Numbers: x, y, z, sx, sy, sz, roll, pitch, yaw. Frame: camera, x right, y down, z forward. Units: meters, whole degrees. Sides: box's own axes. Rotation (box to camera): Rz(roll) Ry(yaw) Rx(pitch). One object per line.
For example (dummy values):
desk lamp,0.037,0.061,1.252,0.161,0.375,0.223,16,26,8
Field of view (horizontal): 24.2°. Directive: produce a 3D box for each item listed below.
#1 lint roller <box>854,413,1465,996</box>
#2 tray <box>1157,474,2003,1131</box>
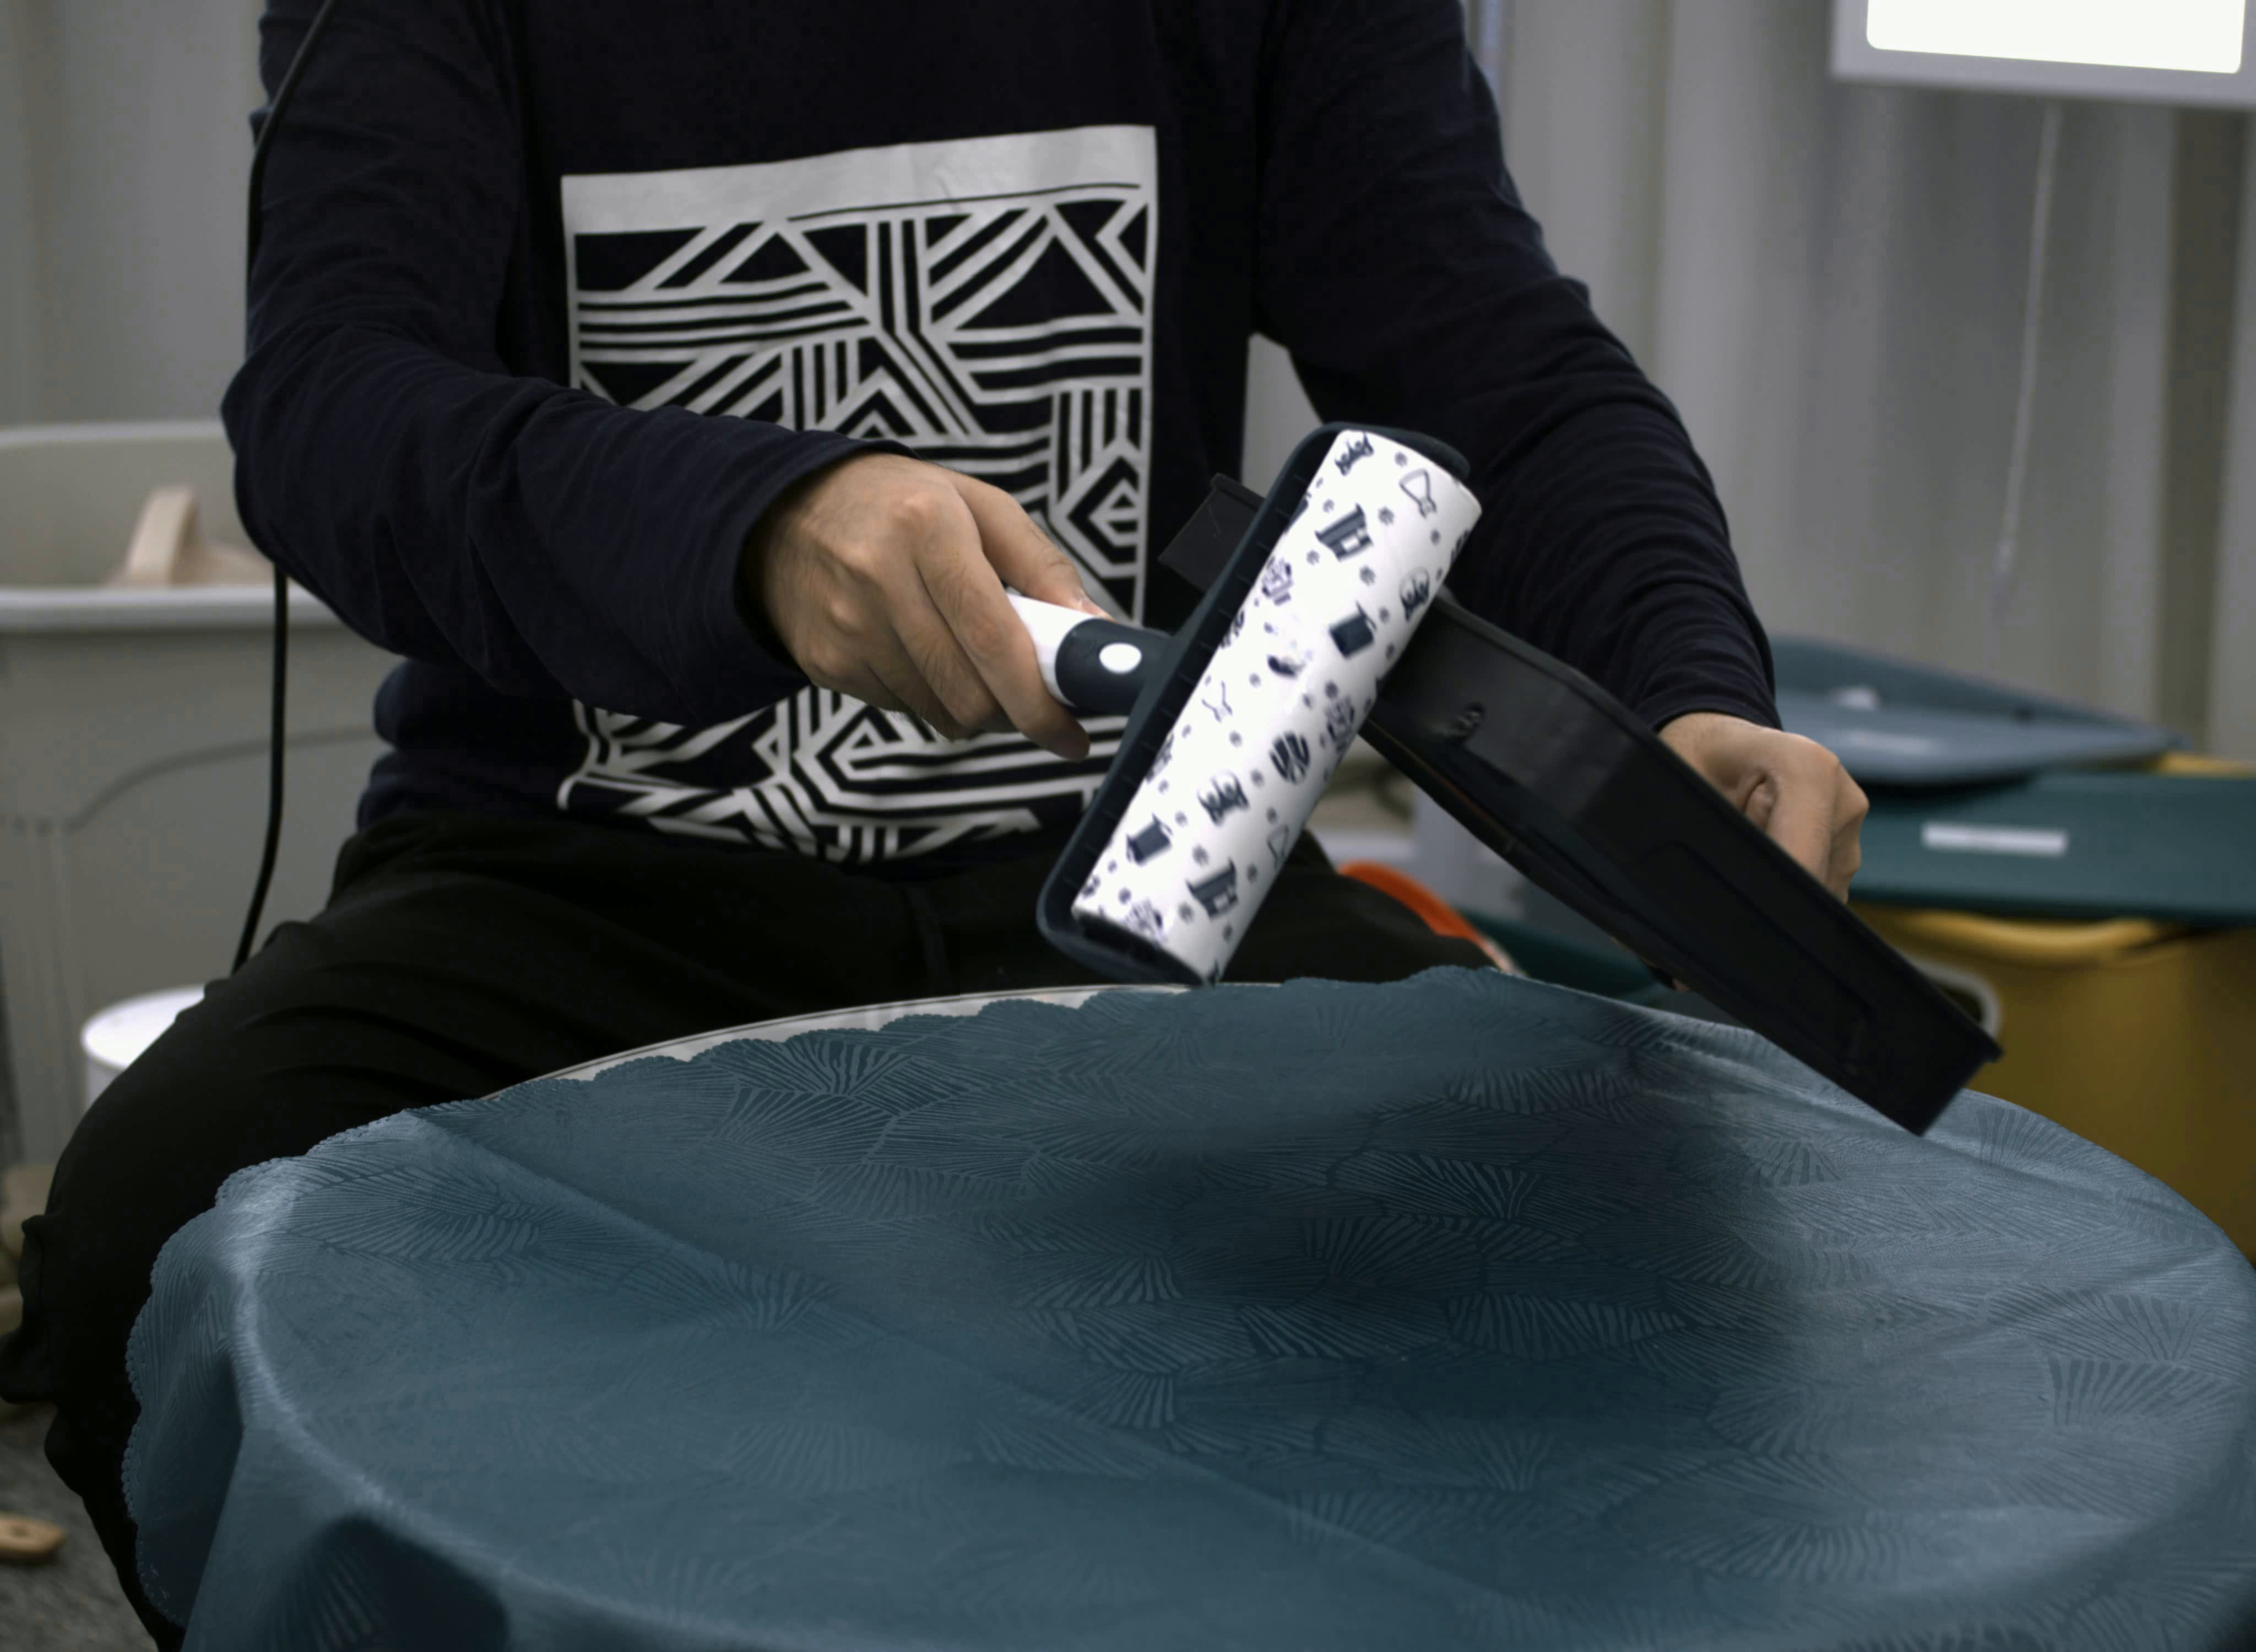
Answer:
lint roller,-0.018,-0.049,1.562,0.051,0.176,0.244,34,-11,-36
tray,0.127,-0.012,1.578,0.186,0.037,0.314,41,-2,-24
